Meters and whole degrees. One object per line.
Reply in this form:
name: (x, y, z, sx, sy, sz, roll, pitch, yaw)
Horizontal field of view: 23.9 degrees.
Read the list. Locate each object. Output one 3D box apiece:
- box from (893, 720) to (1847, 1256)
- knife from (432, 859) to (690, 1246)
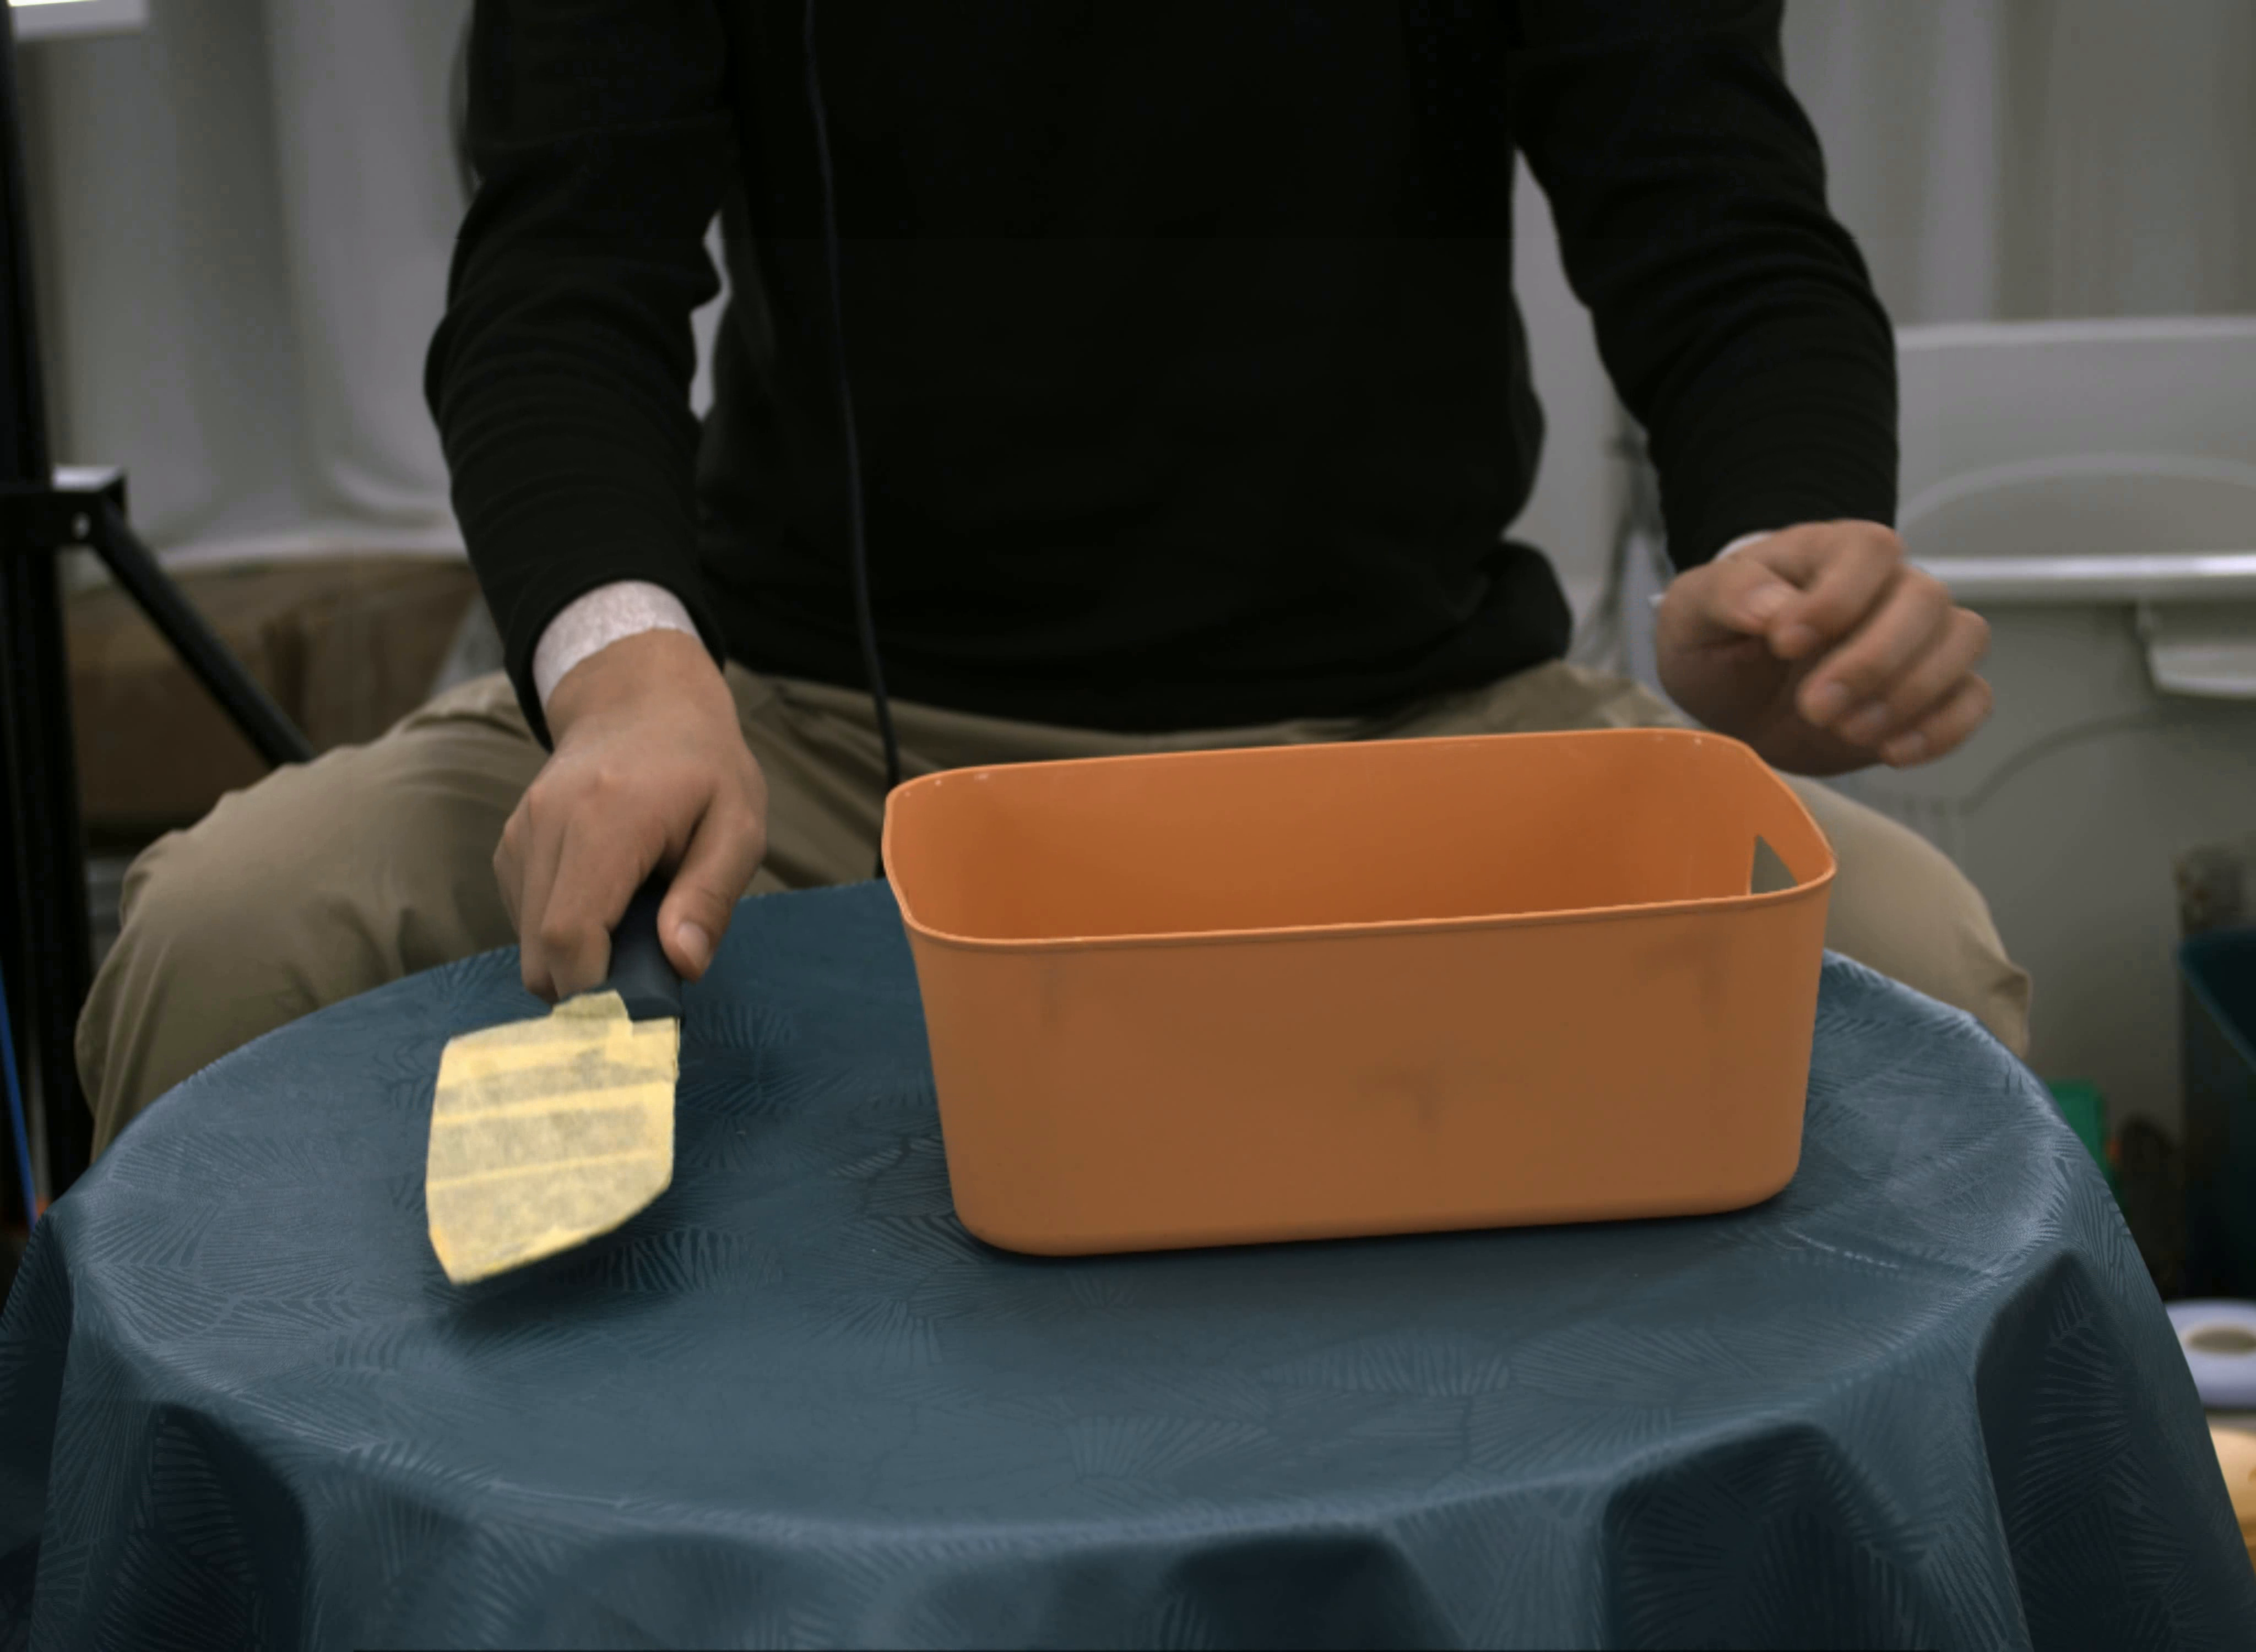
box: (0.068, 0.047, 1.572, 0.271, 0.102, 0.201, -3, 16, -3)
knife: (-0.167, 0.067, 1.602, 0.081, 0.027, 0.291, -3, 19, 1)
